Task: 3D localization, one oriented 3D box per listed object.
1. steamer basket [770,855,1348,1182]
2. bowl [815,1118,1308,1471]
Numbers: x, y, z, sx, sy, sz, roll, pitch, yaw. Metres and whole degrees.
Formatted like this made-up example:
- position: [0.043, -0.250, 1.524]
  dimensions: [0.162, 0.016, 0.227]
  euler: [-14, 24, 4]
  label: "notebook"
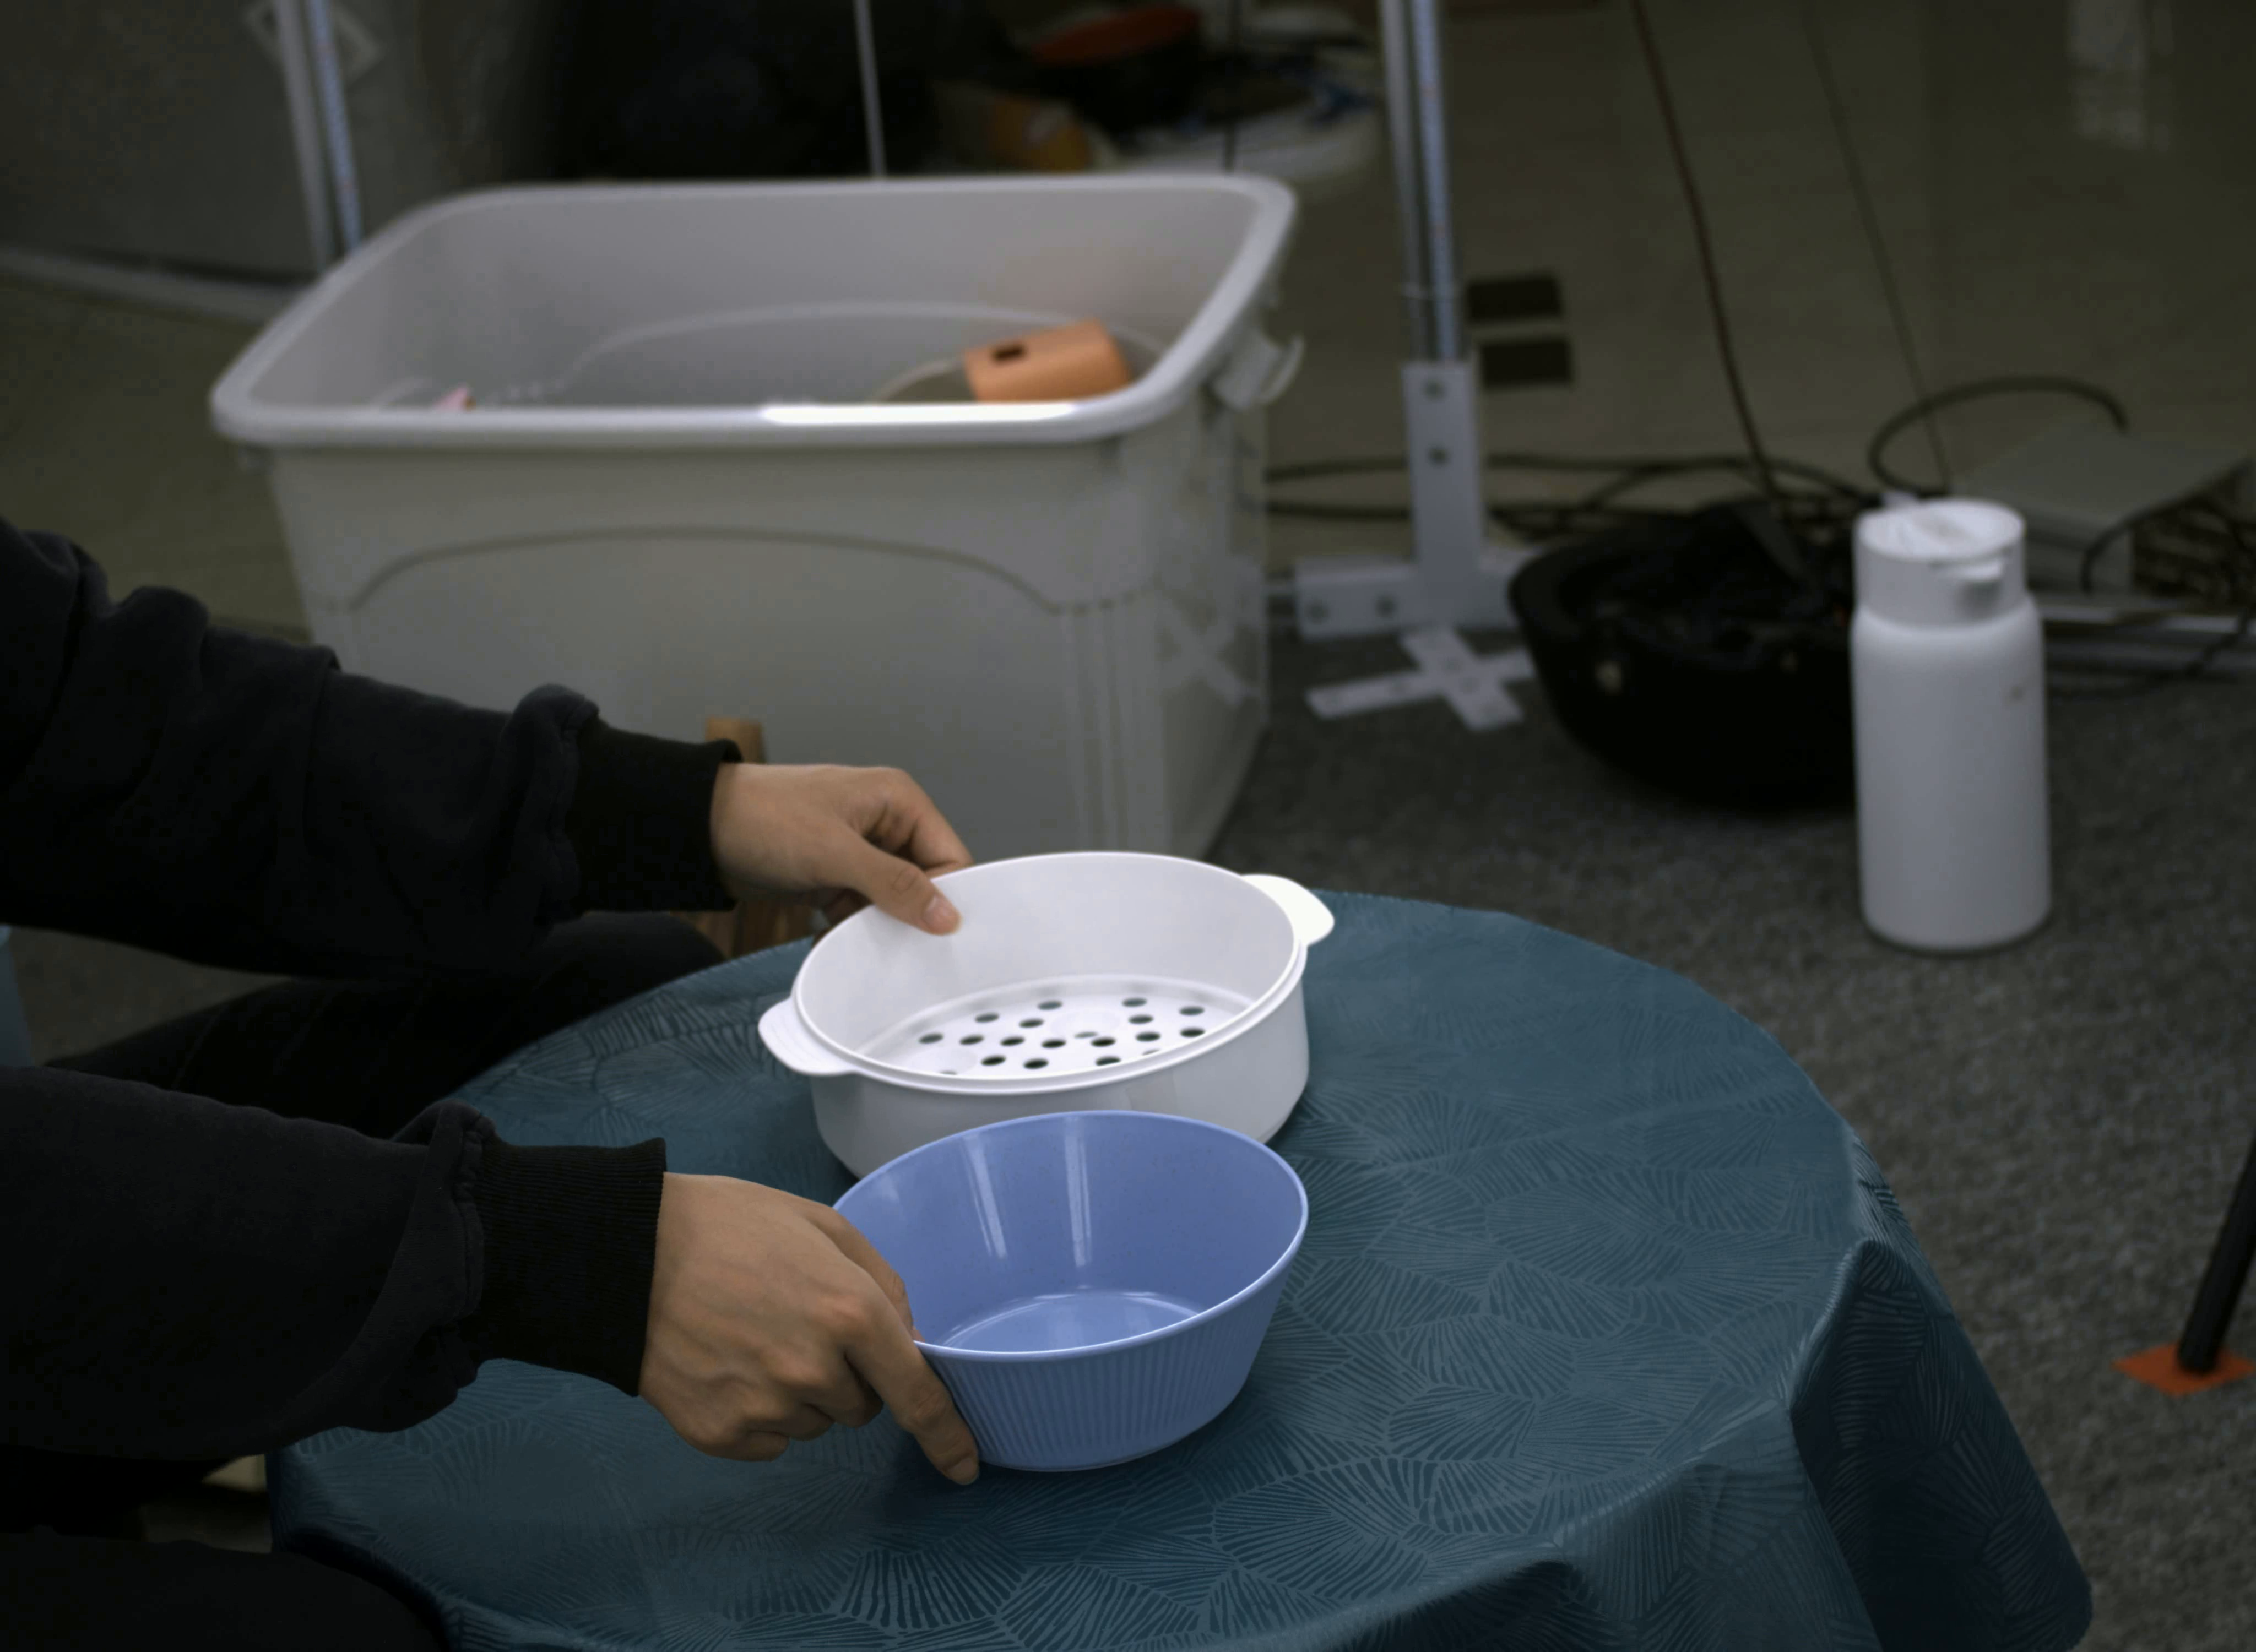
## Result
- position: [-0.023, 0.081, 2.202]
  dimensions: [0.230, 0.070, 0.199]
  euler: [-13, 26, -19]
  label: "steamer basket"
- position: [-0.020, 0.171, 2.004]
  dimensions: [0.176, 0.071, 0.173]
  euler: [-6, 24, 3]
  label: "bowl"
